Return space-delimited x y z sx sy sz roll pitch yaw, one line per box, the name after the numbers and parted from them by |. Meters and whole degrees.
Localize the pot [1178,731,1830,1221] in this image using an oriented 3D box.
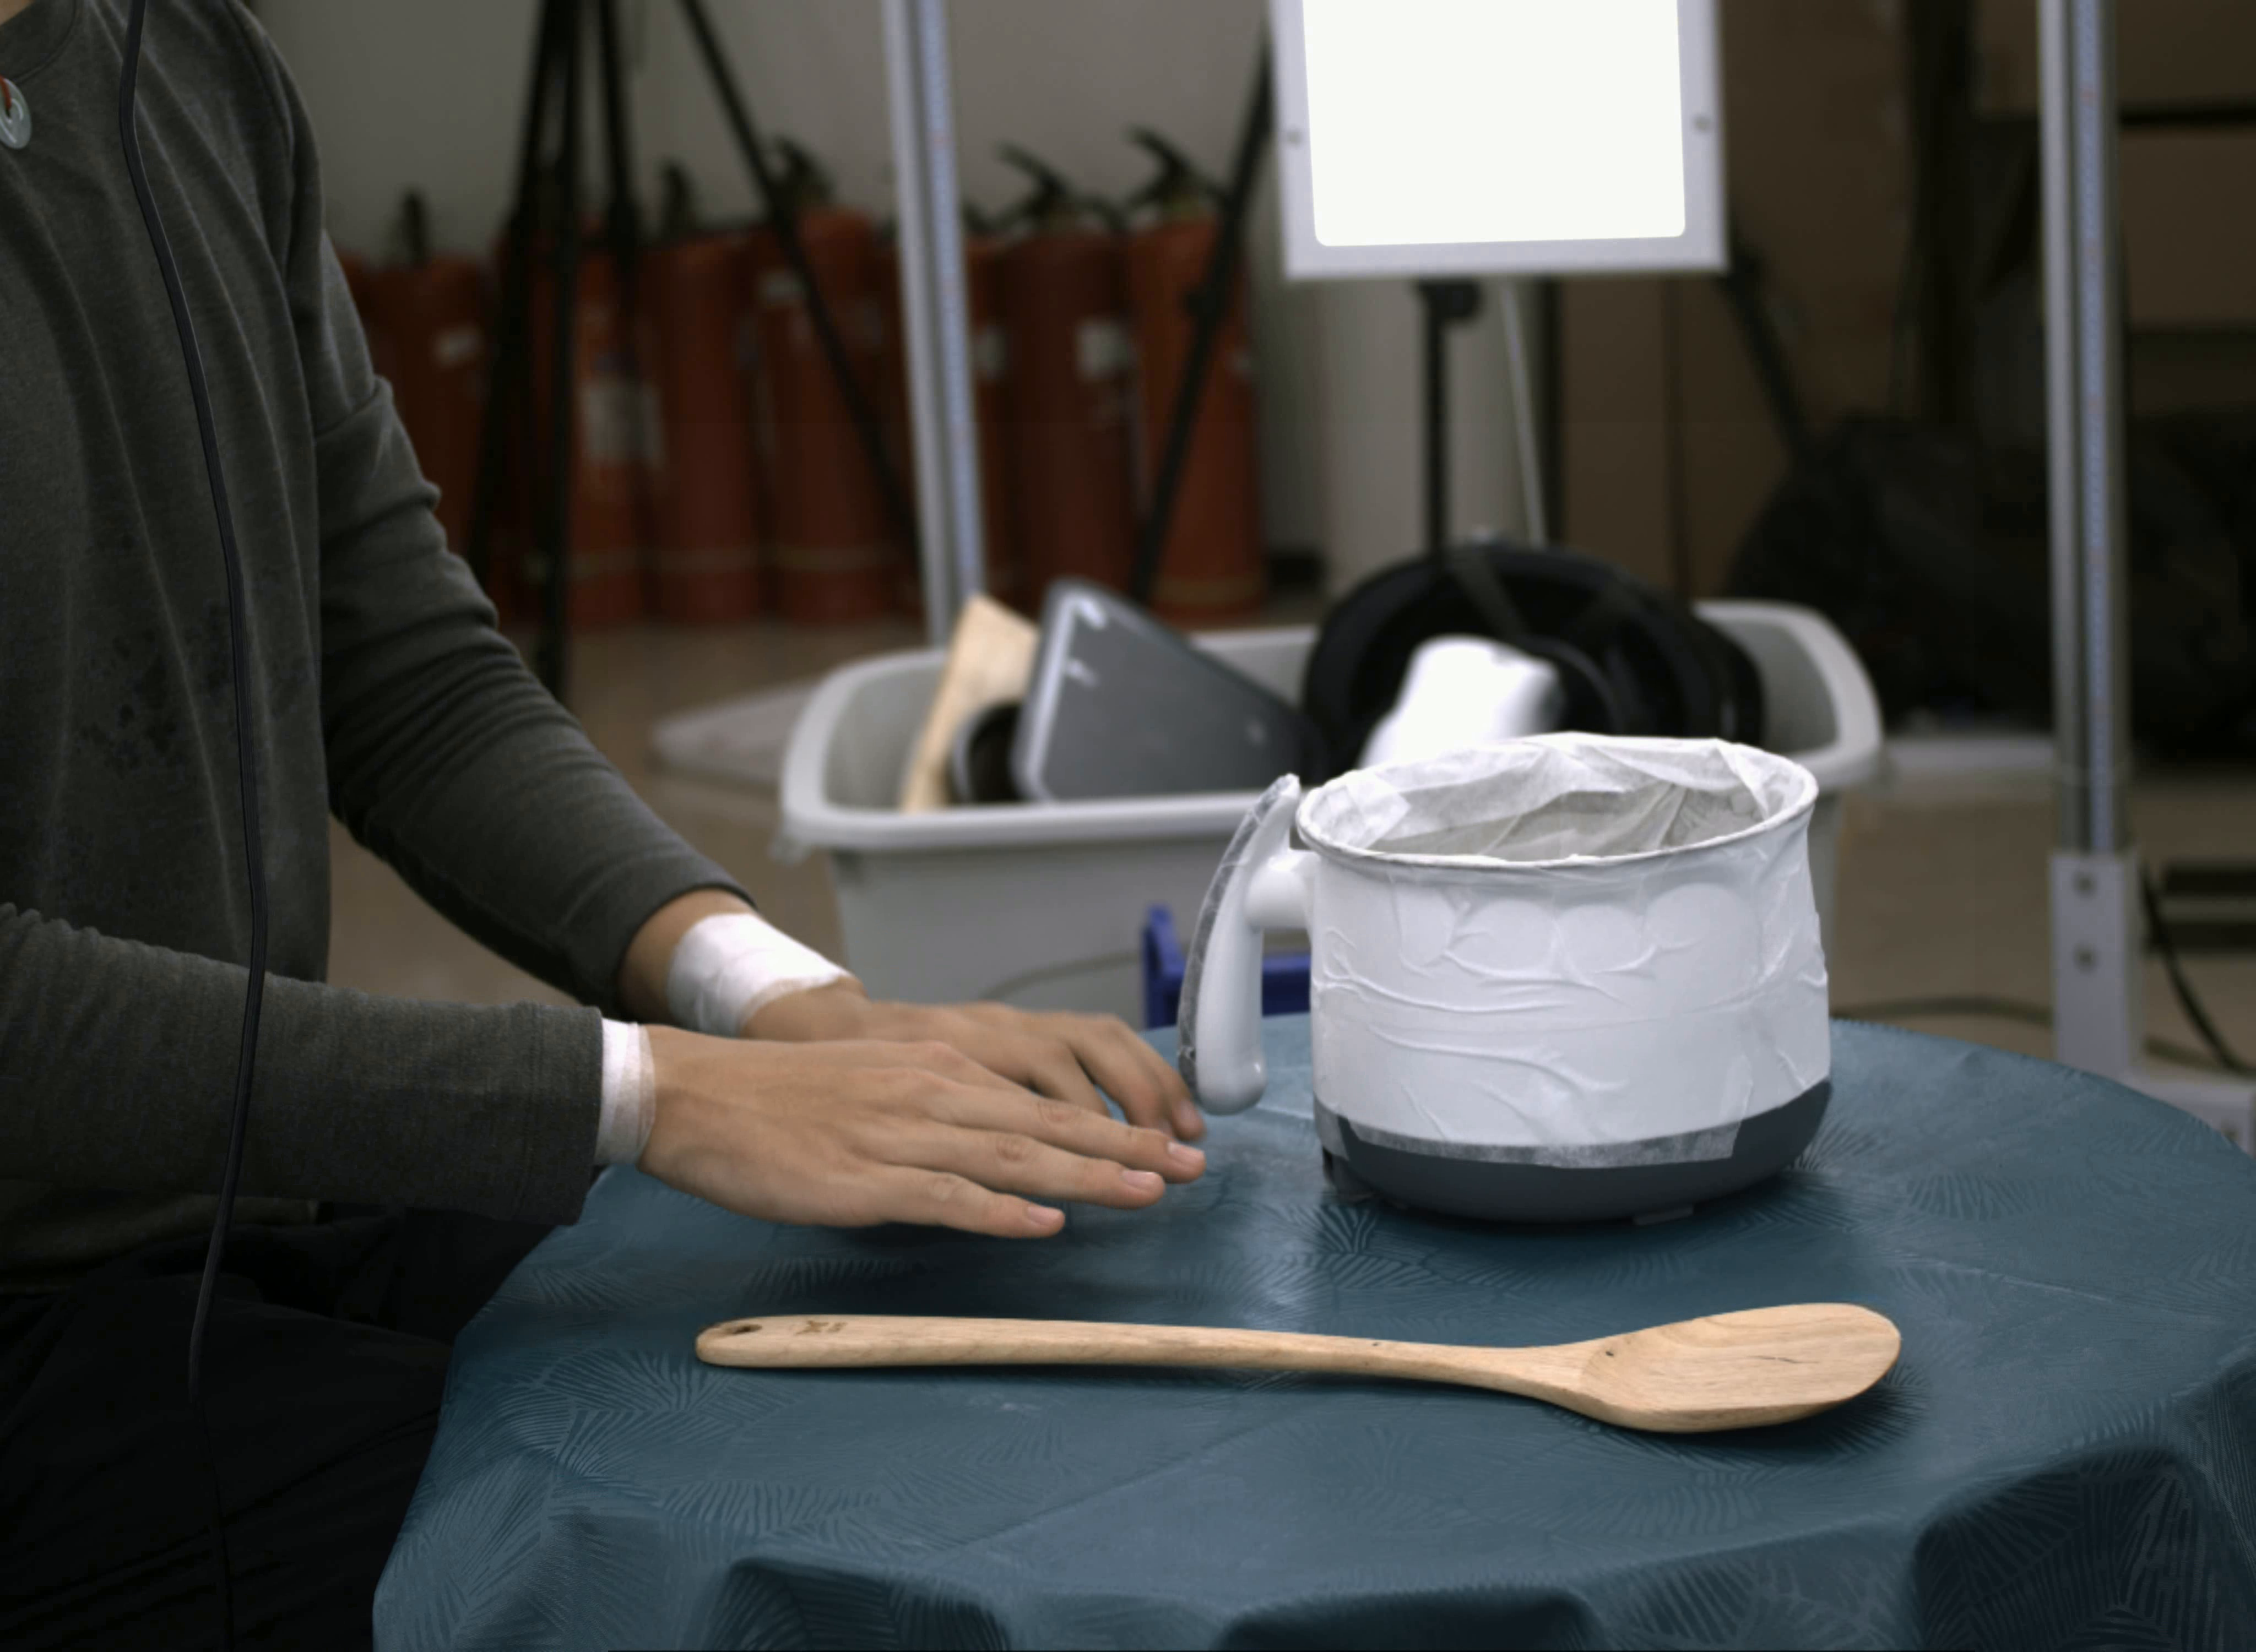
0.125 0.049 1.879 0.237 0.137 0.175 2 15 25 | pot

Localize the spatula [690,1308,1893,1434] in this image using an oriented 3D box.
0.043 0.164 1.697 0.396 0.018 0.094 0 13 21 | spatula
